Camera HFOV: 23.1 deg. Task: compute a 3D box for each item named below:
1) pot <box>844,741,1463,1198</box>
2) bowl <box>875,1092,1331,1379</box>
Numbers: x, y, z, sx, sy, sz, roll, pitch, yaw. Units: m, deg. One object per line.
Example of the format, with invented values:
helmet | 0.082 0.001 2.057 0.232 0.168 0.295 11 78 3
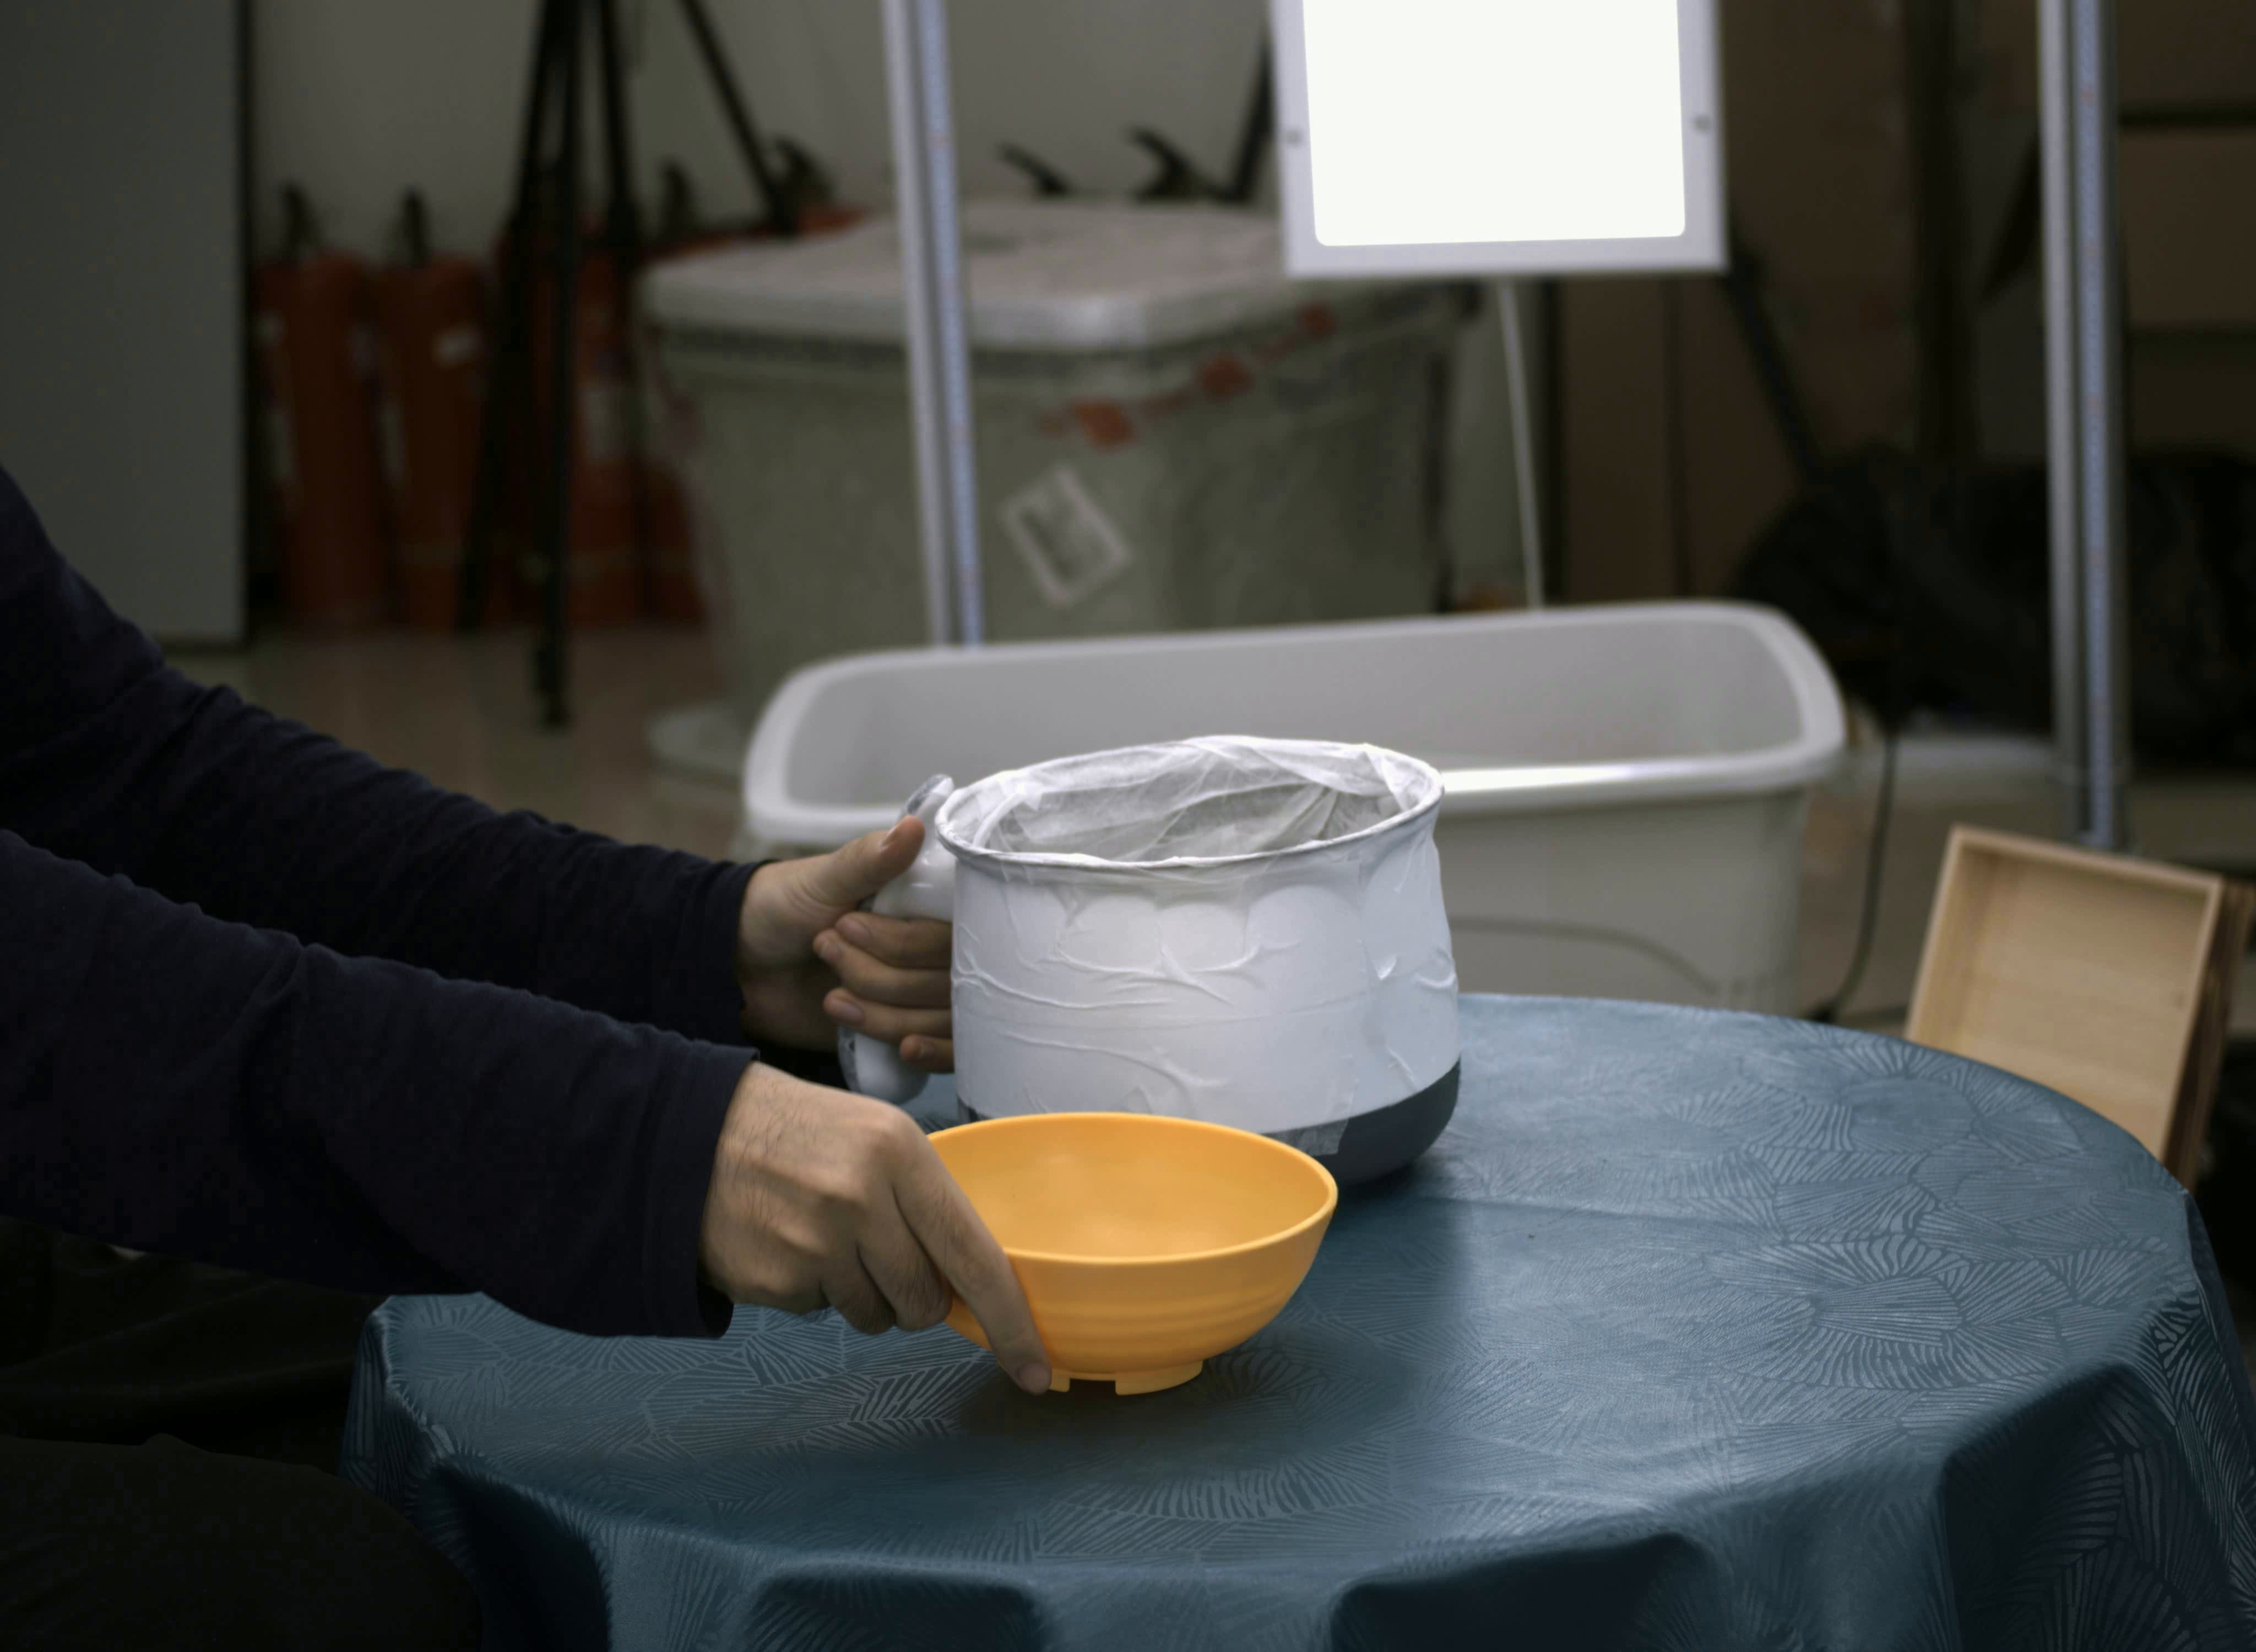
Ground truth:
pot | 0.002 0.053 1.925 0.238 0.137 0.175 1 15 29
bowl | -0.010 0.133 1.713 0.144 0.060 0.145 5 15 -3
